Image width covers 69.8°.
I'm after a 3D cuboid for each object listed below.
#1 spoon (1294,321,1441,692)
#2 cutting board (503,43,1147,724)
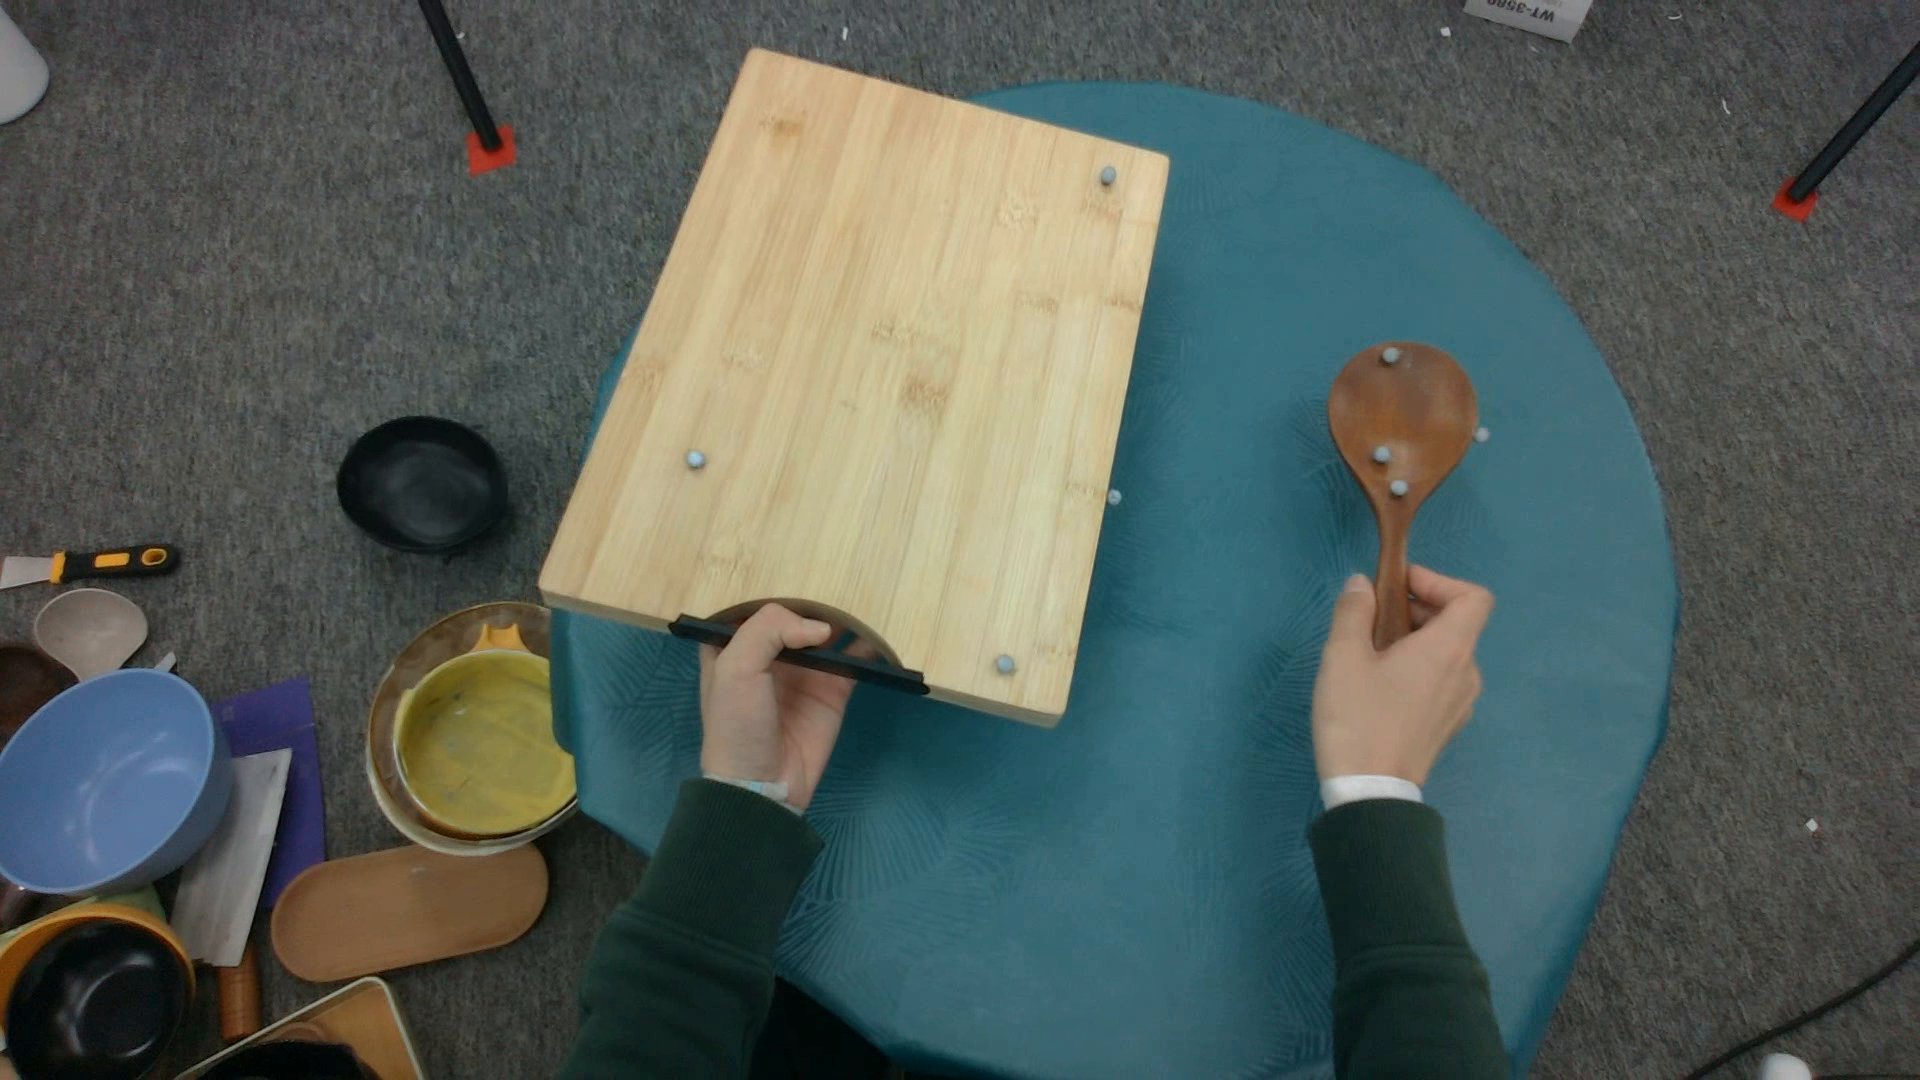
[{"bbox_3d":[0.201,-0.023,0.689,0.075,0.017,0.217,7,59,8],"label":"spoon"},{"bbox_3d":[-0.048,-0.095,0.692,0.251,0.023,0.350,13,62,-1],"label":"cutting board"}]
